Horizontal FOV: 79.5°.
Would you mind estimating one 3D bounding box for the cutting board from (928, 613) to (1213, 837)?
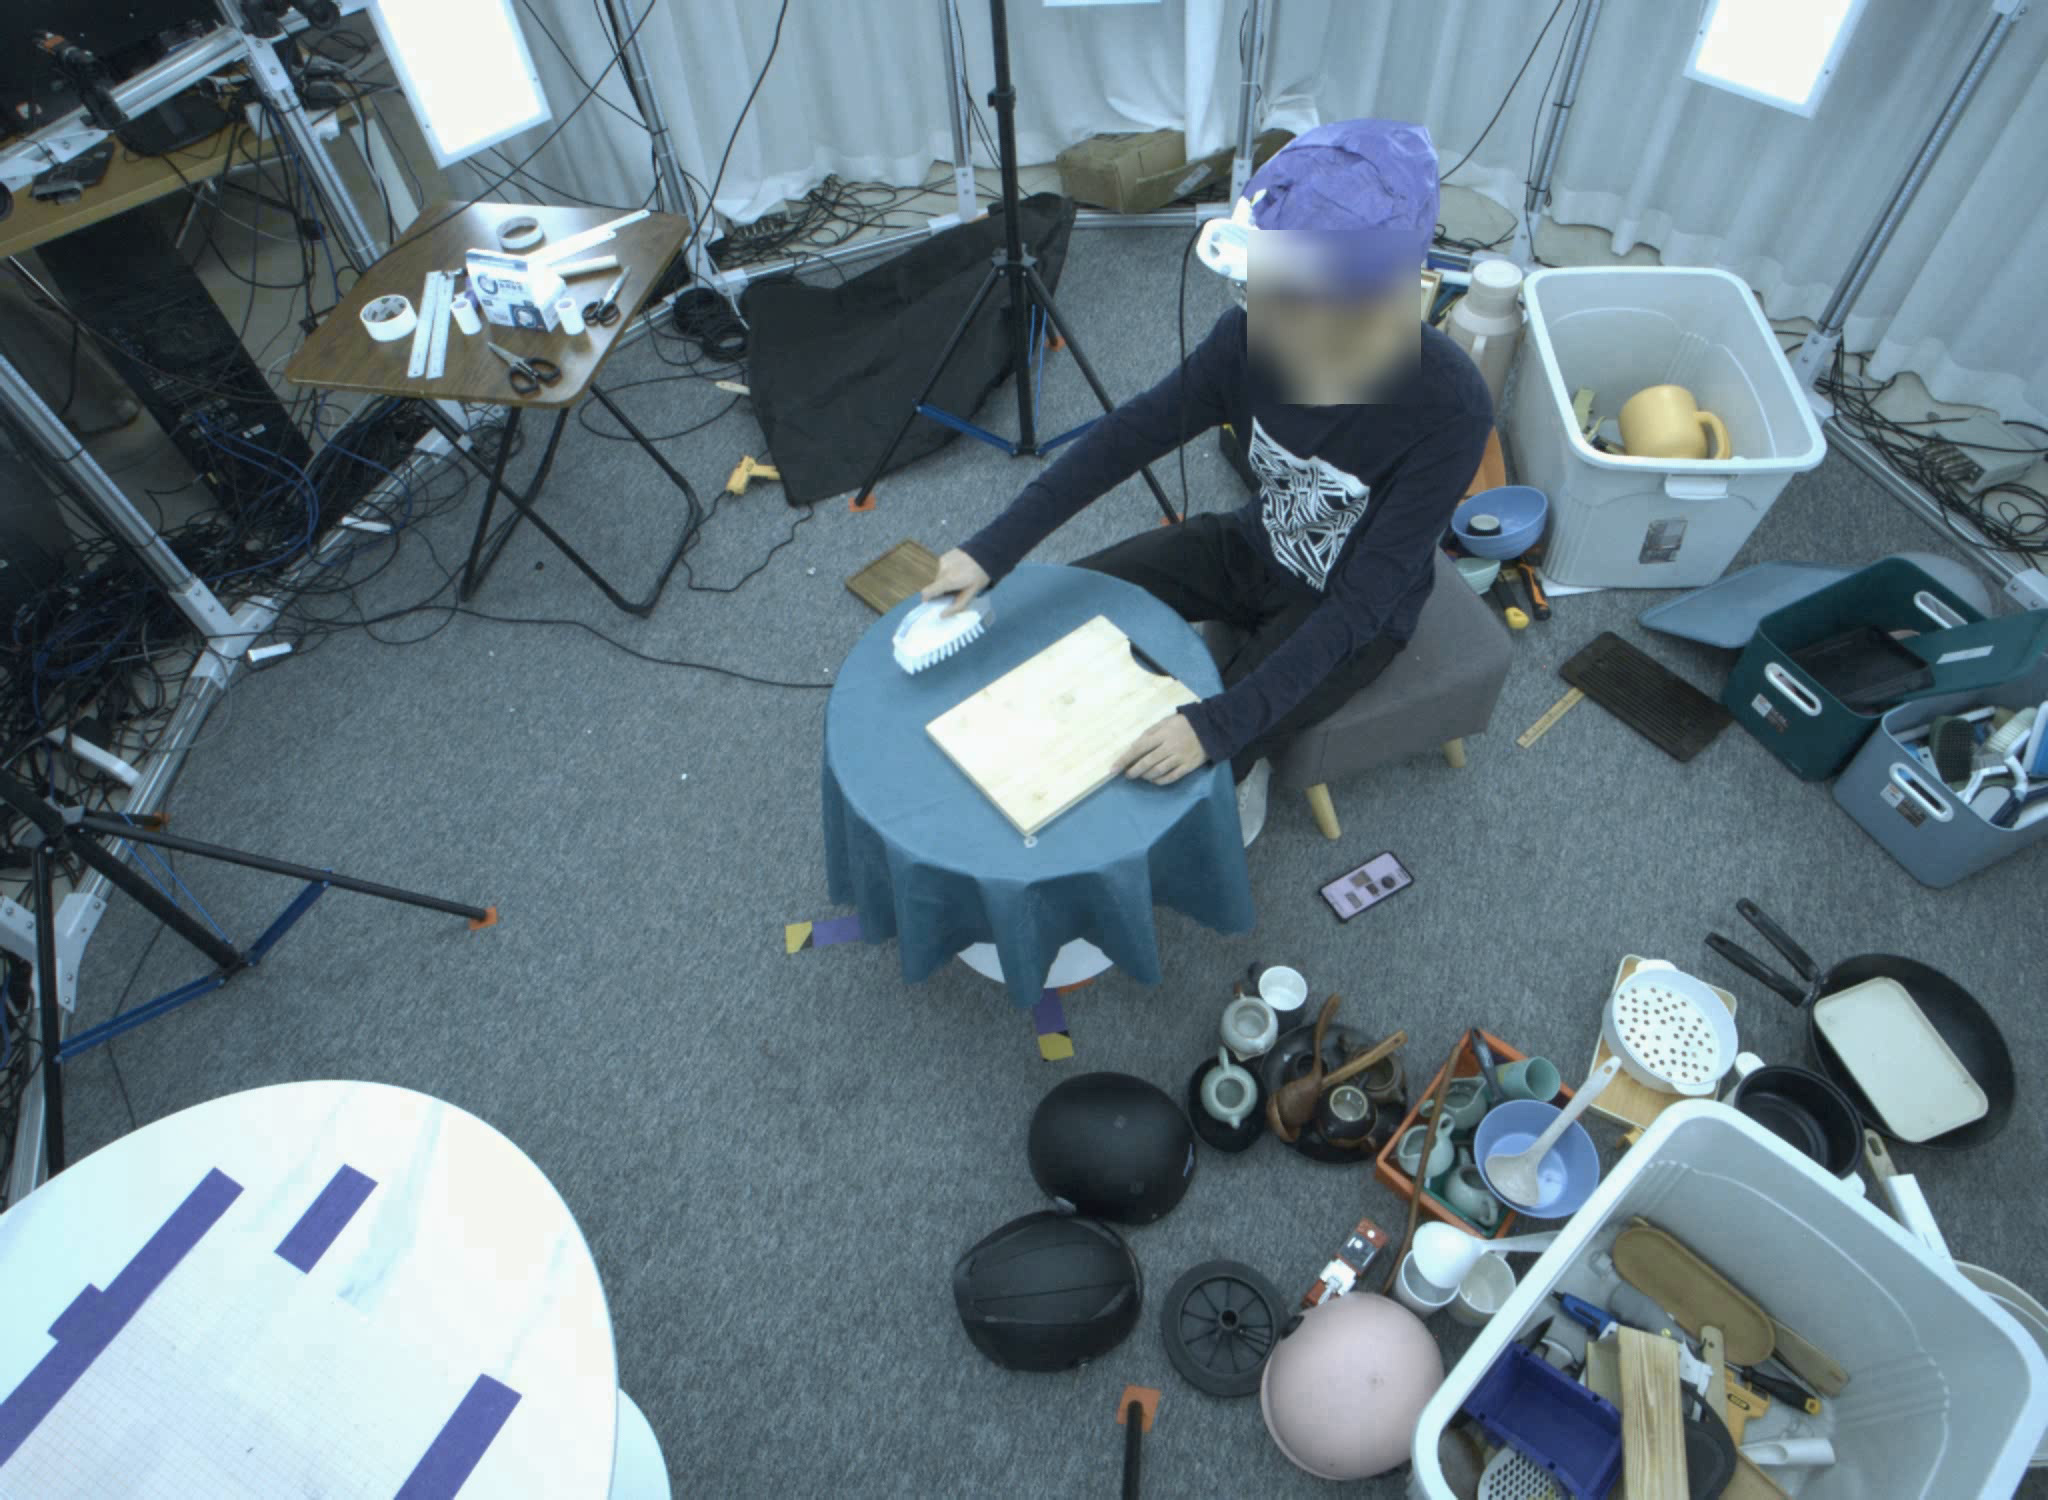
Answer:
[{"bbox_3d":[0.066,-0.047,1.801,0.351,0.024,0.246,-35,61,-21],"label":"cutting board"}]

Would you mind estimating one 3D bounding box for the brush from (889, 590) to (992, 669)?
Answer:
[{"bbox_3d":[-0.122,-0.198,1.839,0.177,0.095,0.060,-28,53,-24],"label":"brush"}]
